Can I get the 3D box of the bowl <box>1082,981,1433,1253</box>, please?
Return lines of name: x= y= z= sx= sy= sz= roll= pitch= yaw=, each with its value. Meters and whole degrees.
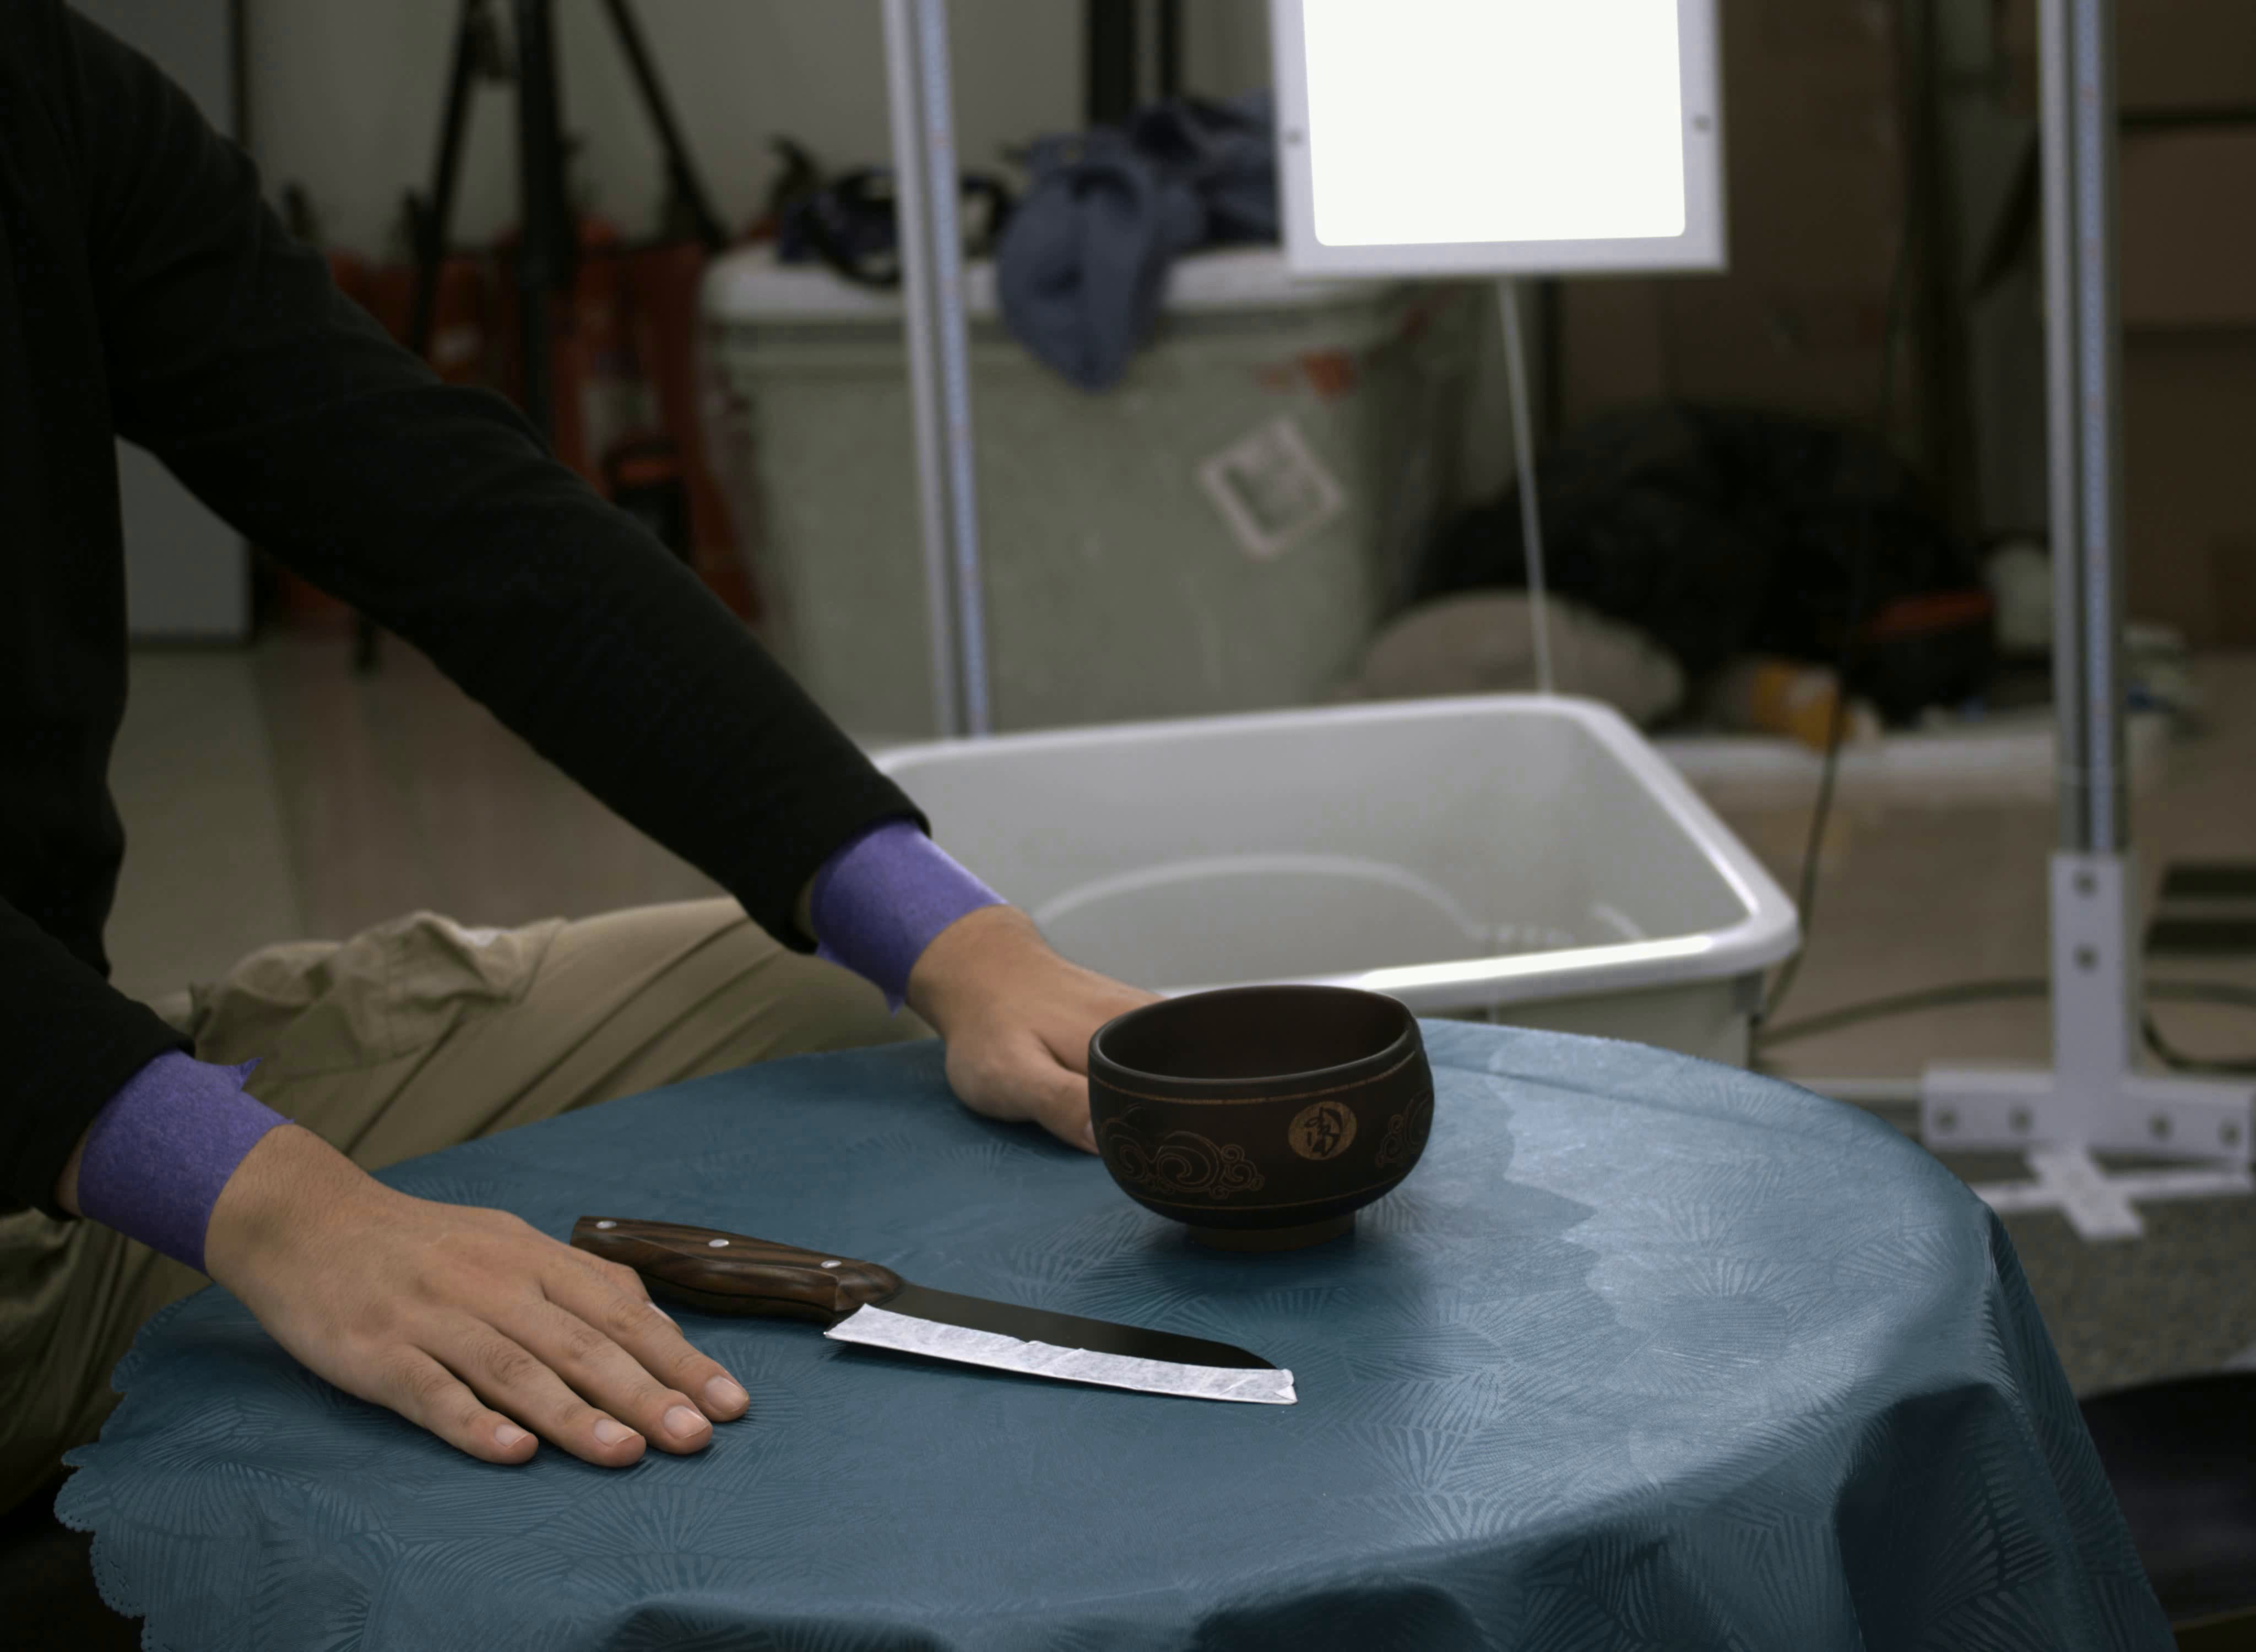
bowl: x=0.045 y=0.101 z=1.841 sx=0.118 sy=0.070 sz=0.118 roll=-7 pitch=14 yaw=0

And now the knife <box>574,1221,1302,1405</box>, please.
knife: x=-0.065 y=0.158 z=1.766 sx=0.295 sy=0.020 sz=0.049 roll=8 pitch=24 yaw=35
